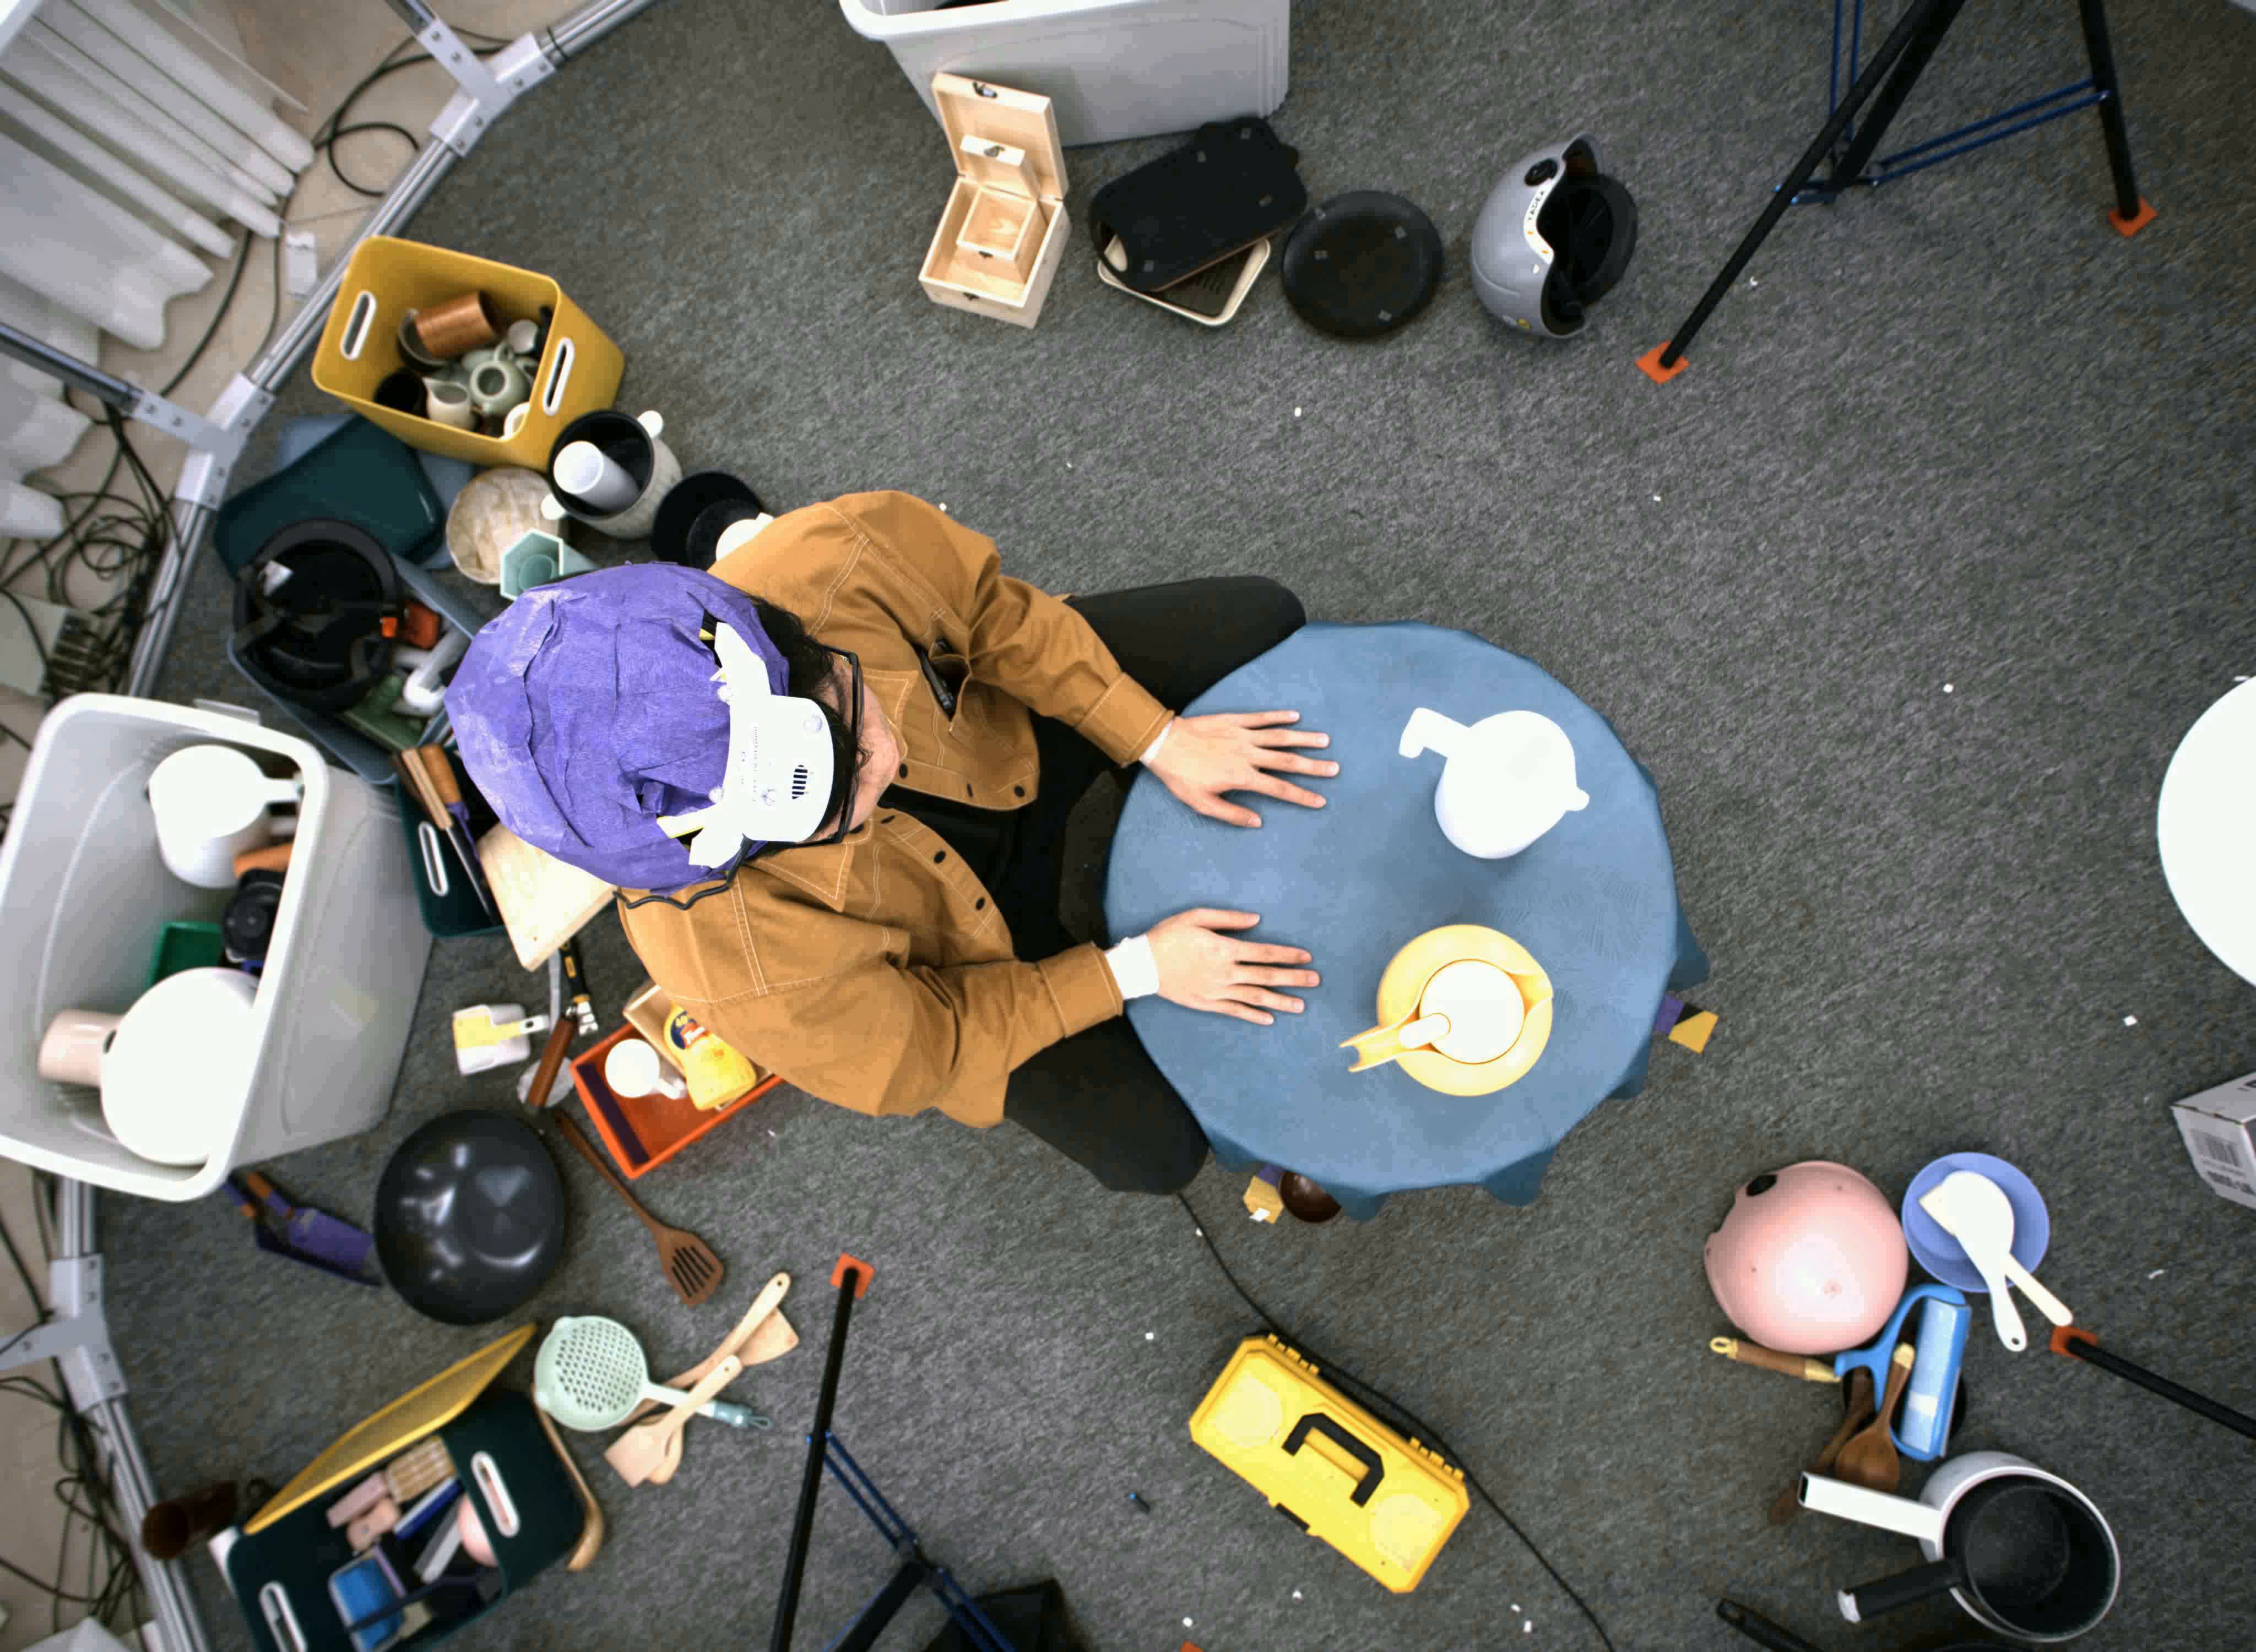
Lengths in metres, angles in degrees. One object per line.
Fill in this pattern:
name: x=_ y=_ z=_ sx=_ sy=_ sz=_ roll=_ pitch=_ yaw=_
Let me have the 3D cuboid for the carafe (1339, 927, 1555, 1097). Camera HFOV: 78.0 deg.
carafe: x=0.300 y=0.180 z=1.317 sx=0.203 sy=0.261 sz=0.162 roll=-20 pitch=79 yaw=7

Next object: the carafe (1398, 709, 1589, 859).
carafe: x=0.342 y=-0.045 z=1.317 sx=0.172 sy=0.268 sz=0.124 roll=27 pitch=92 yaw=12
